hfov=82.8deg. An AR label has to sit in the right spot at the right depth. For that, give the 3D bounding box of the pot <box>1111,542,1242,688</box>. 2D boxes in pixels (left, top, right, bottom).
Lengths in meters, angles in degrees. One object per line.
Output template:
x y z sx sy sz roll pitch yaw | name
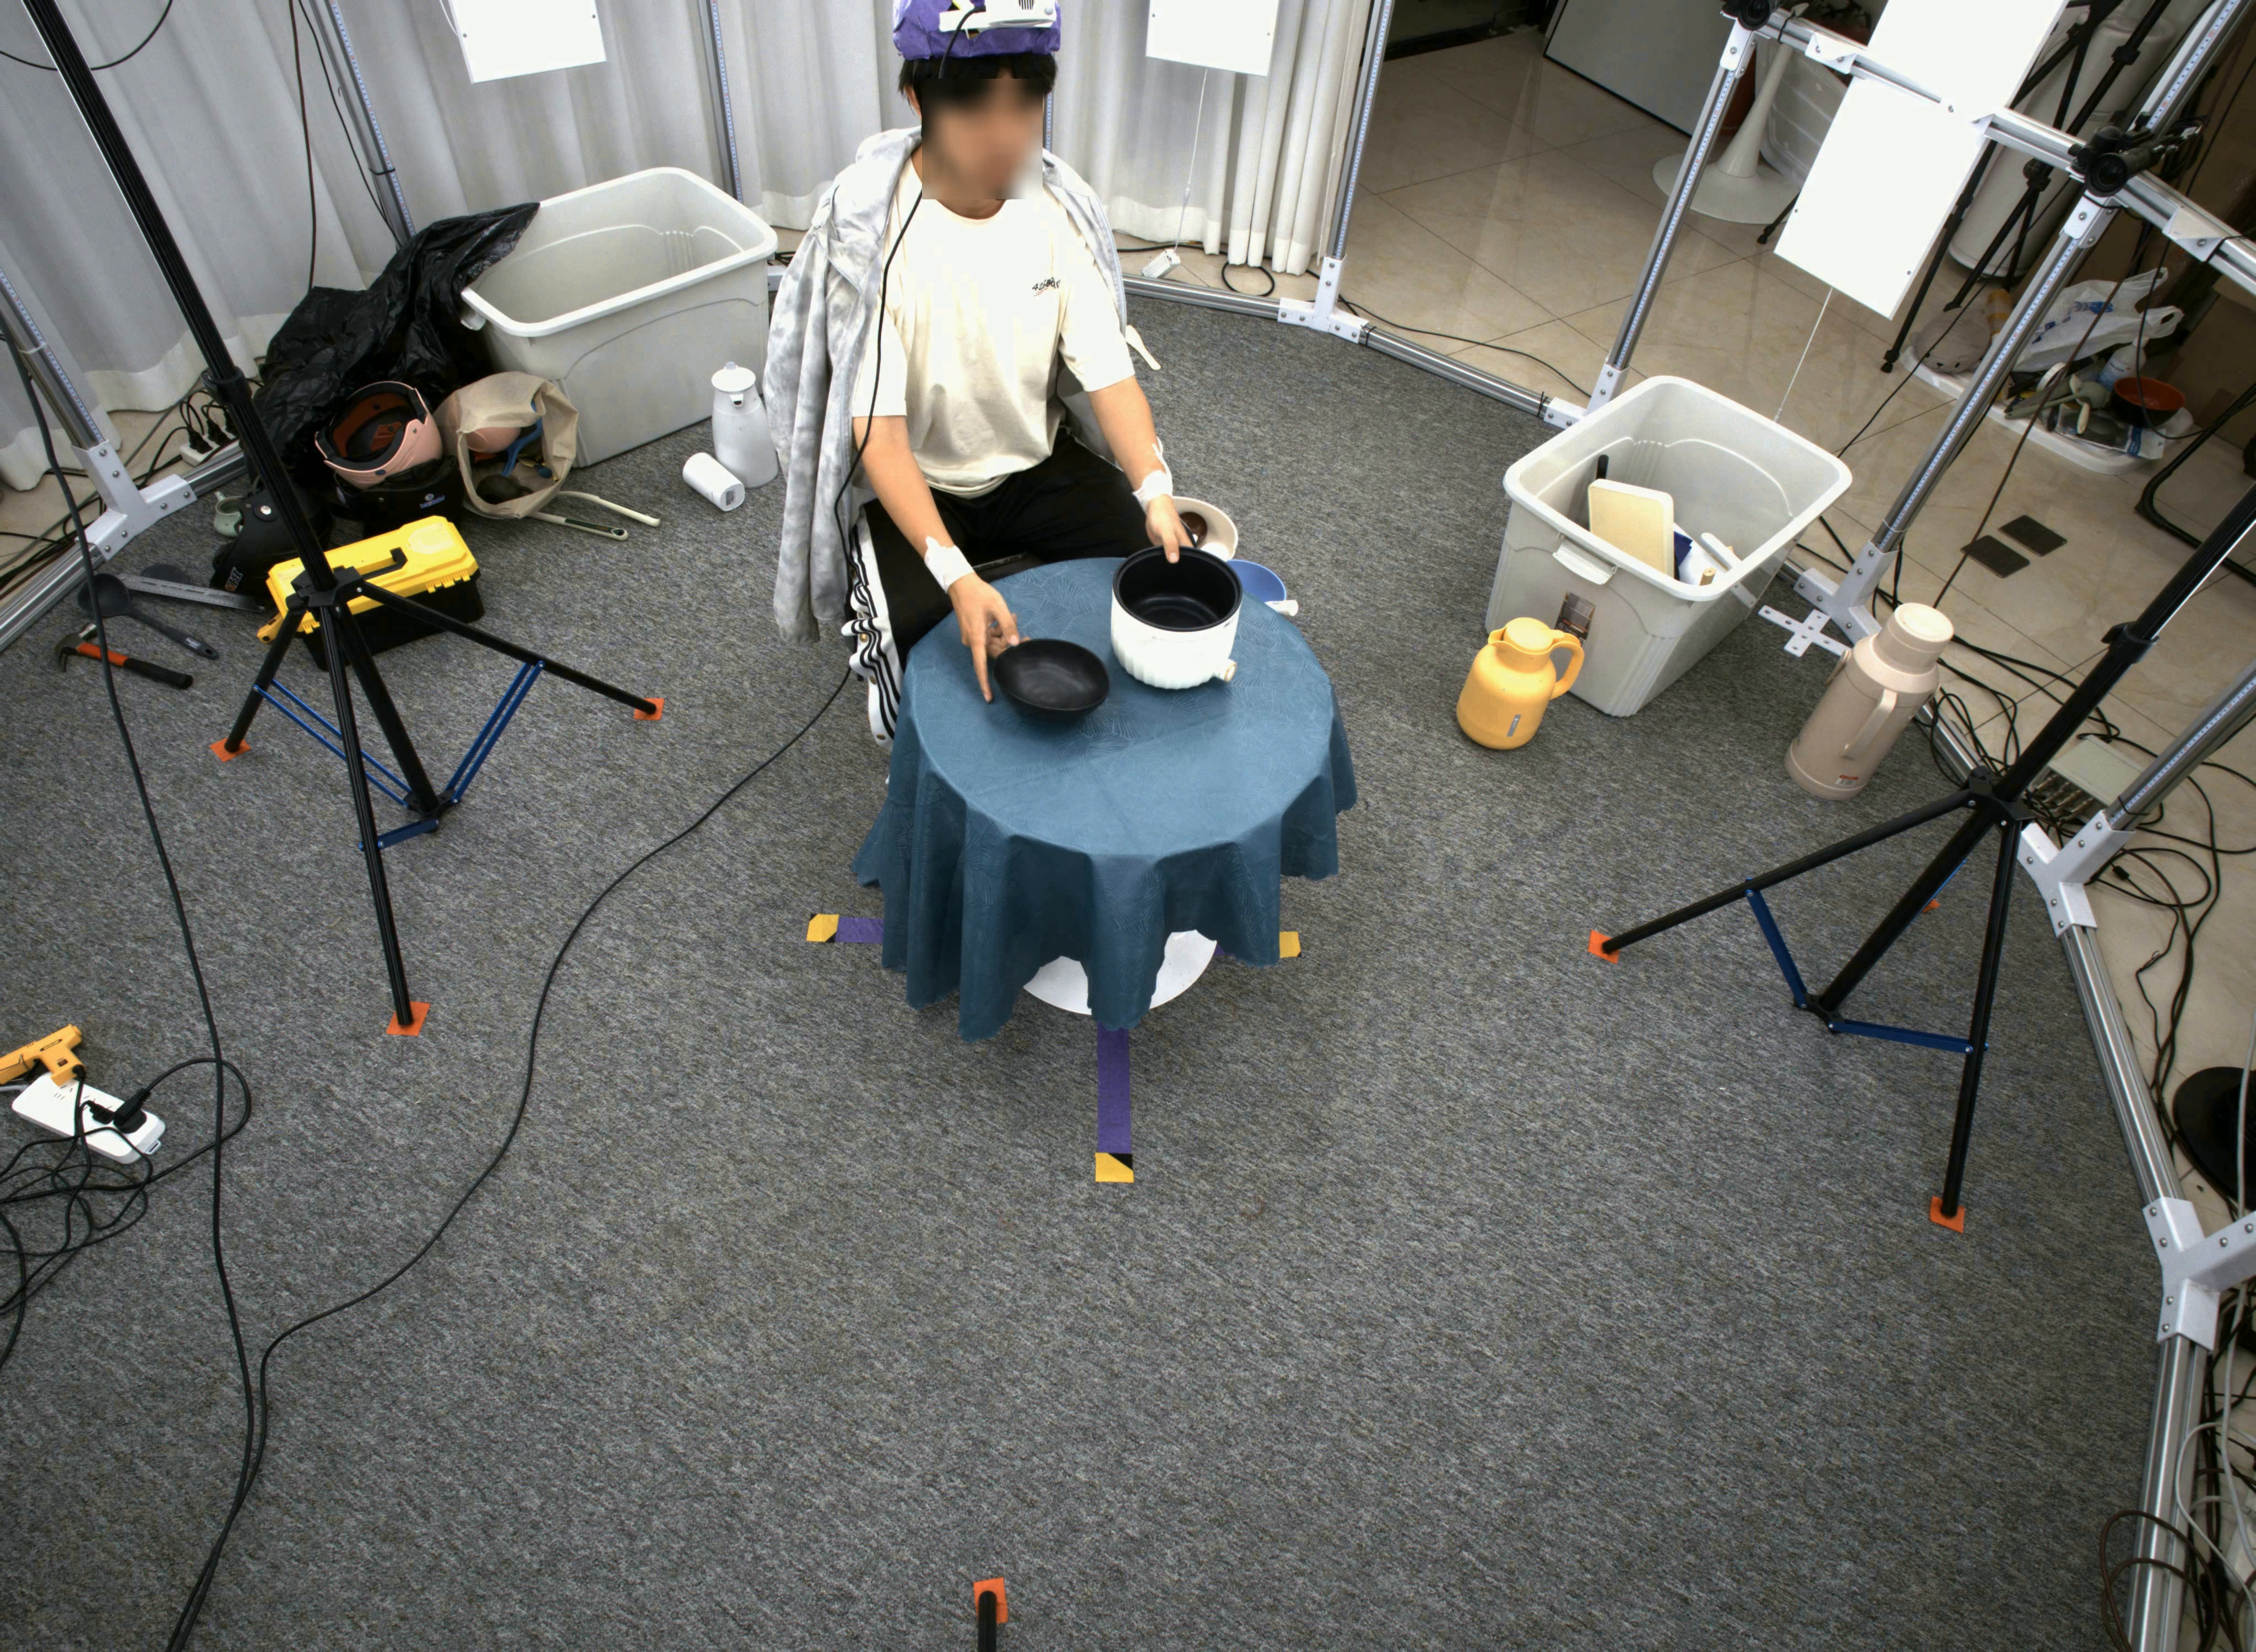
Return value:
0.071 -0.290 1.829 0.192 0.139 0.244 25 52 22 | pot

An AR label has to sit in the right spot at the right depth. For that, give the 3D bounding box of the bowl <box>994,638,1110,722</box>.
-0.107 -0.191 1.778 0.171 0.065 0.140 22 50 16 | bowl
